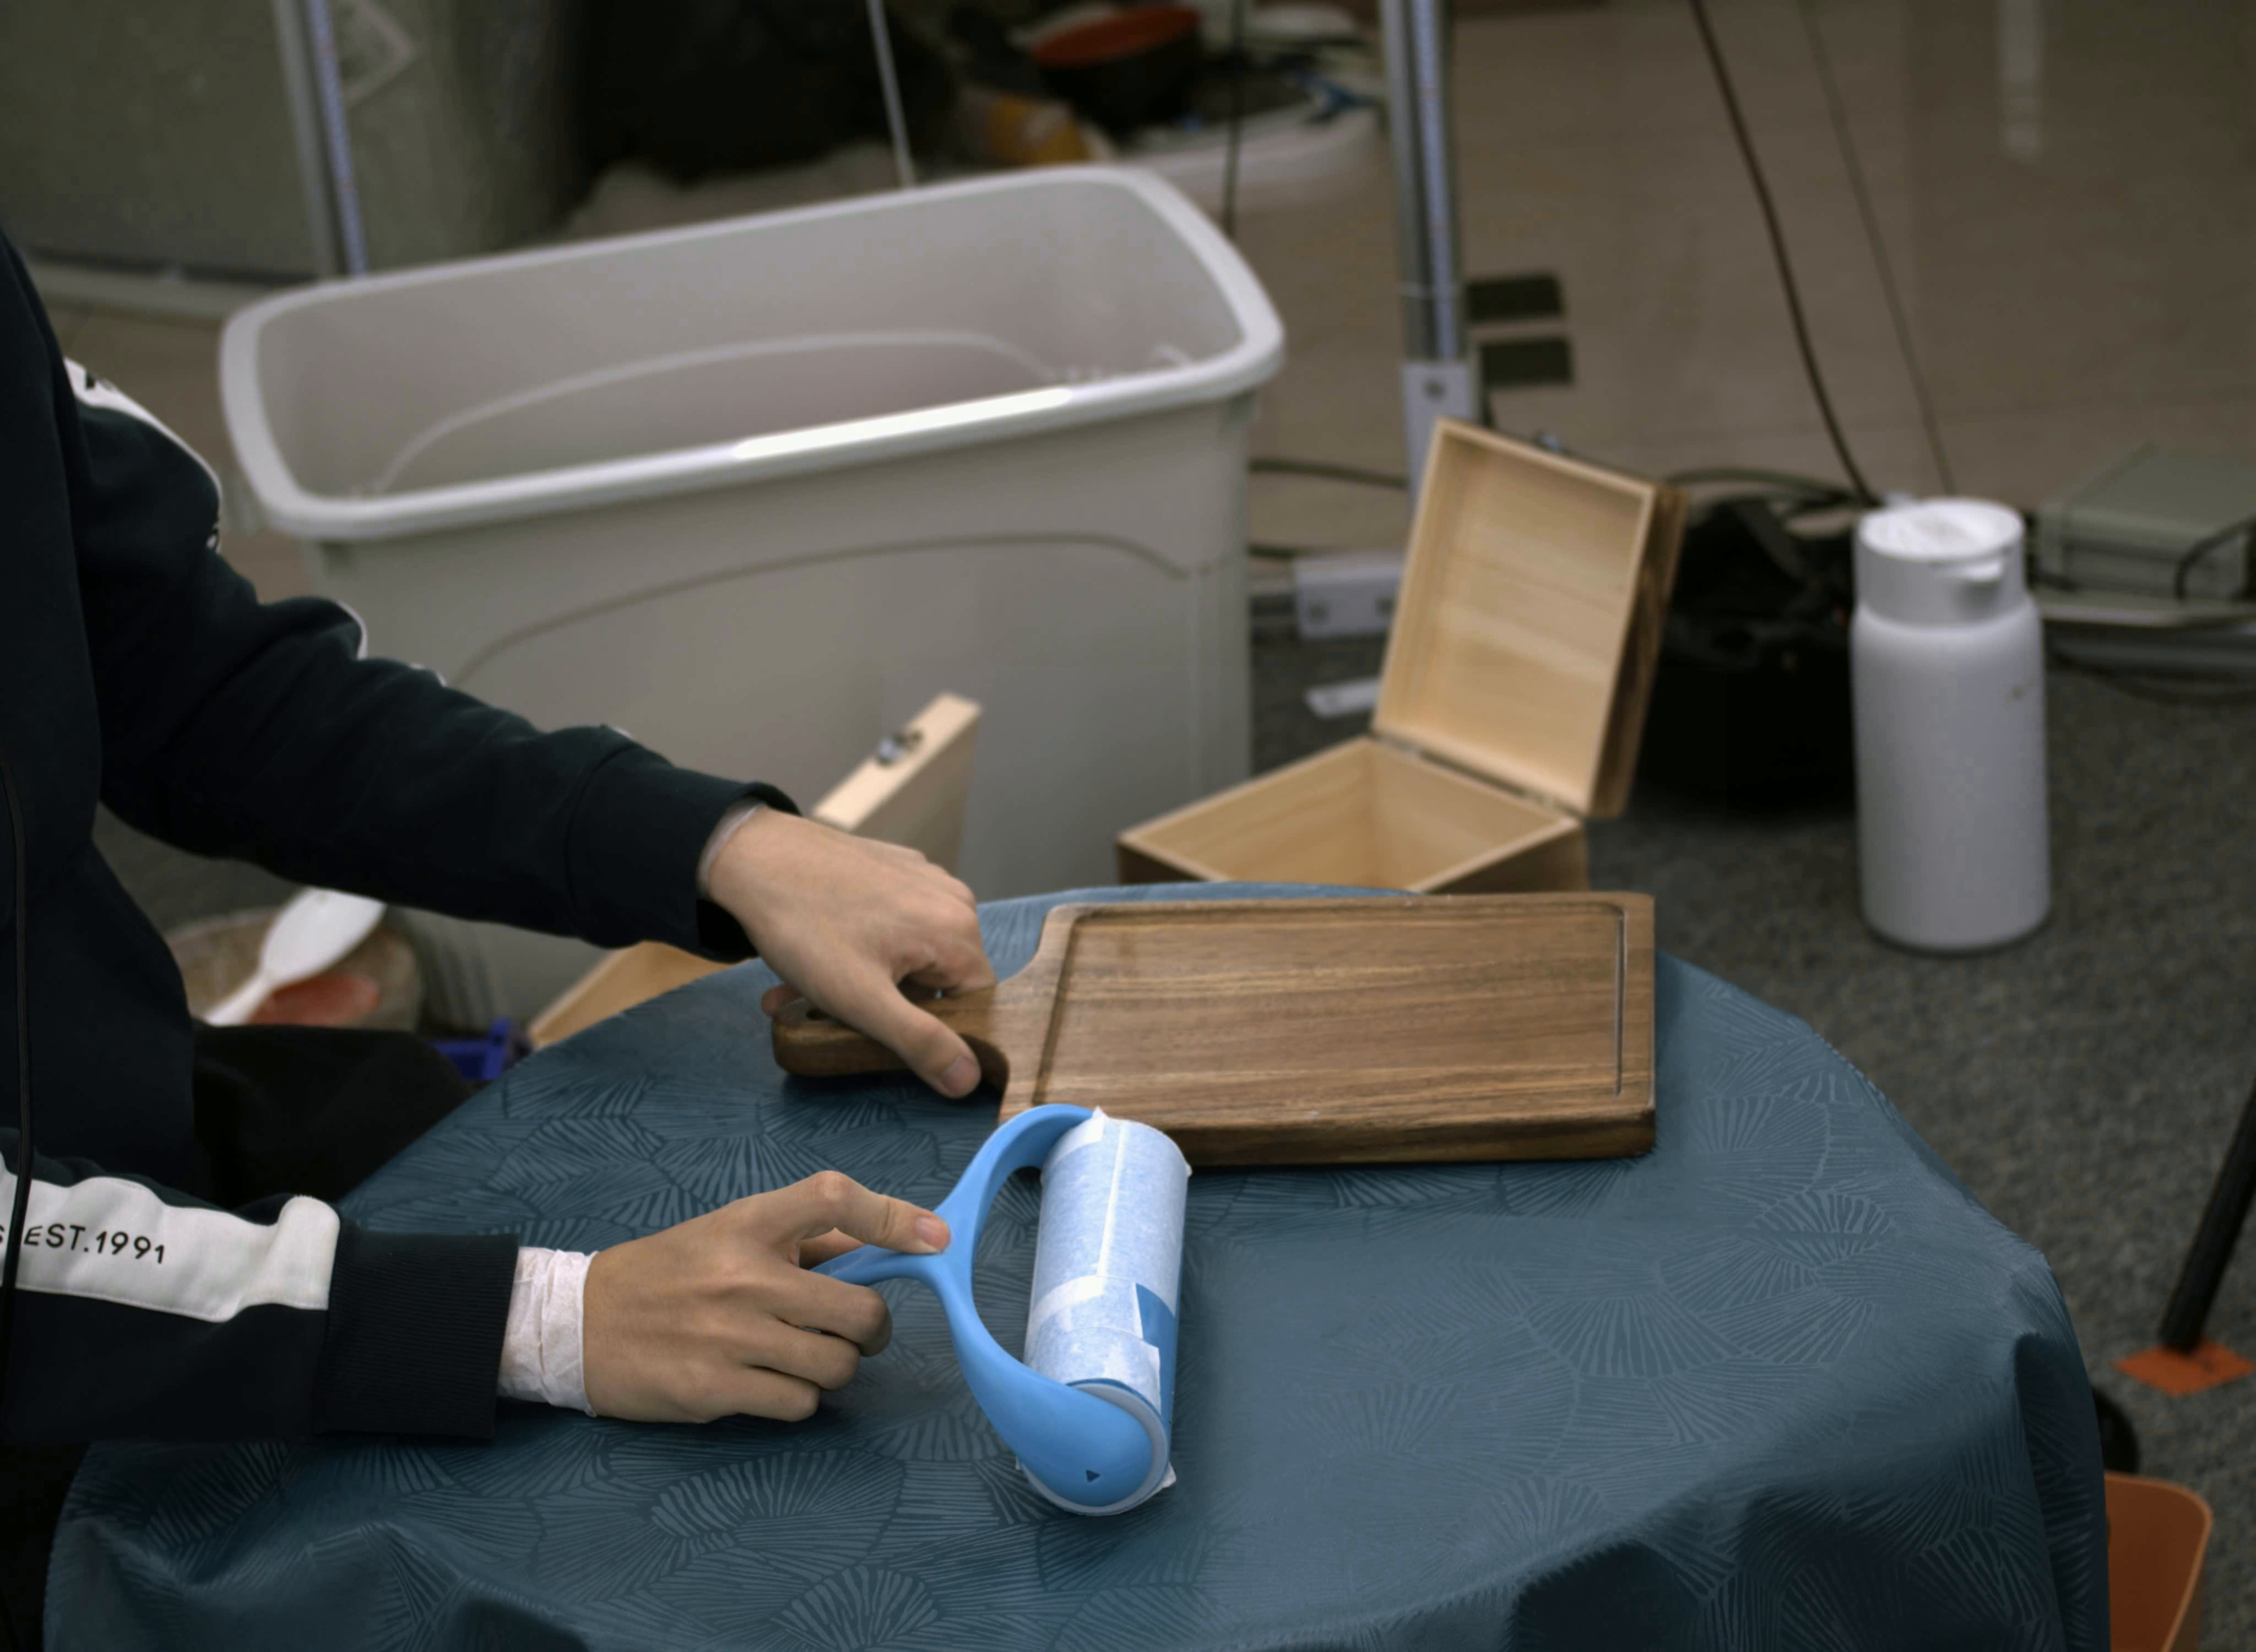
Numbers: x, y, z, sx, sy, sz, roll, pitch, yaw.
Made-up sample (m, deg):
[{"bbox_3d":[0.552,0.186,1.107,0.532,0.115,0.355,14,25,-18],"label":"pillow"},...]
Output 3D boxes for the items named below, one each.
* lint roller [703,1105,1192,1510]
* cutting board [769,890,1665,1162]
[{"bbox_3d":[-0.065,0.174,2.016,0.180,0.069,0.225,-5,26,2],"label":"lint roller"},{"bbox_3d":[0.033,0.078,2.225,0.351,0.023,0.198,-2,25,6],"label":"cutting board"}]
